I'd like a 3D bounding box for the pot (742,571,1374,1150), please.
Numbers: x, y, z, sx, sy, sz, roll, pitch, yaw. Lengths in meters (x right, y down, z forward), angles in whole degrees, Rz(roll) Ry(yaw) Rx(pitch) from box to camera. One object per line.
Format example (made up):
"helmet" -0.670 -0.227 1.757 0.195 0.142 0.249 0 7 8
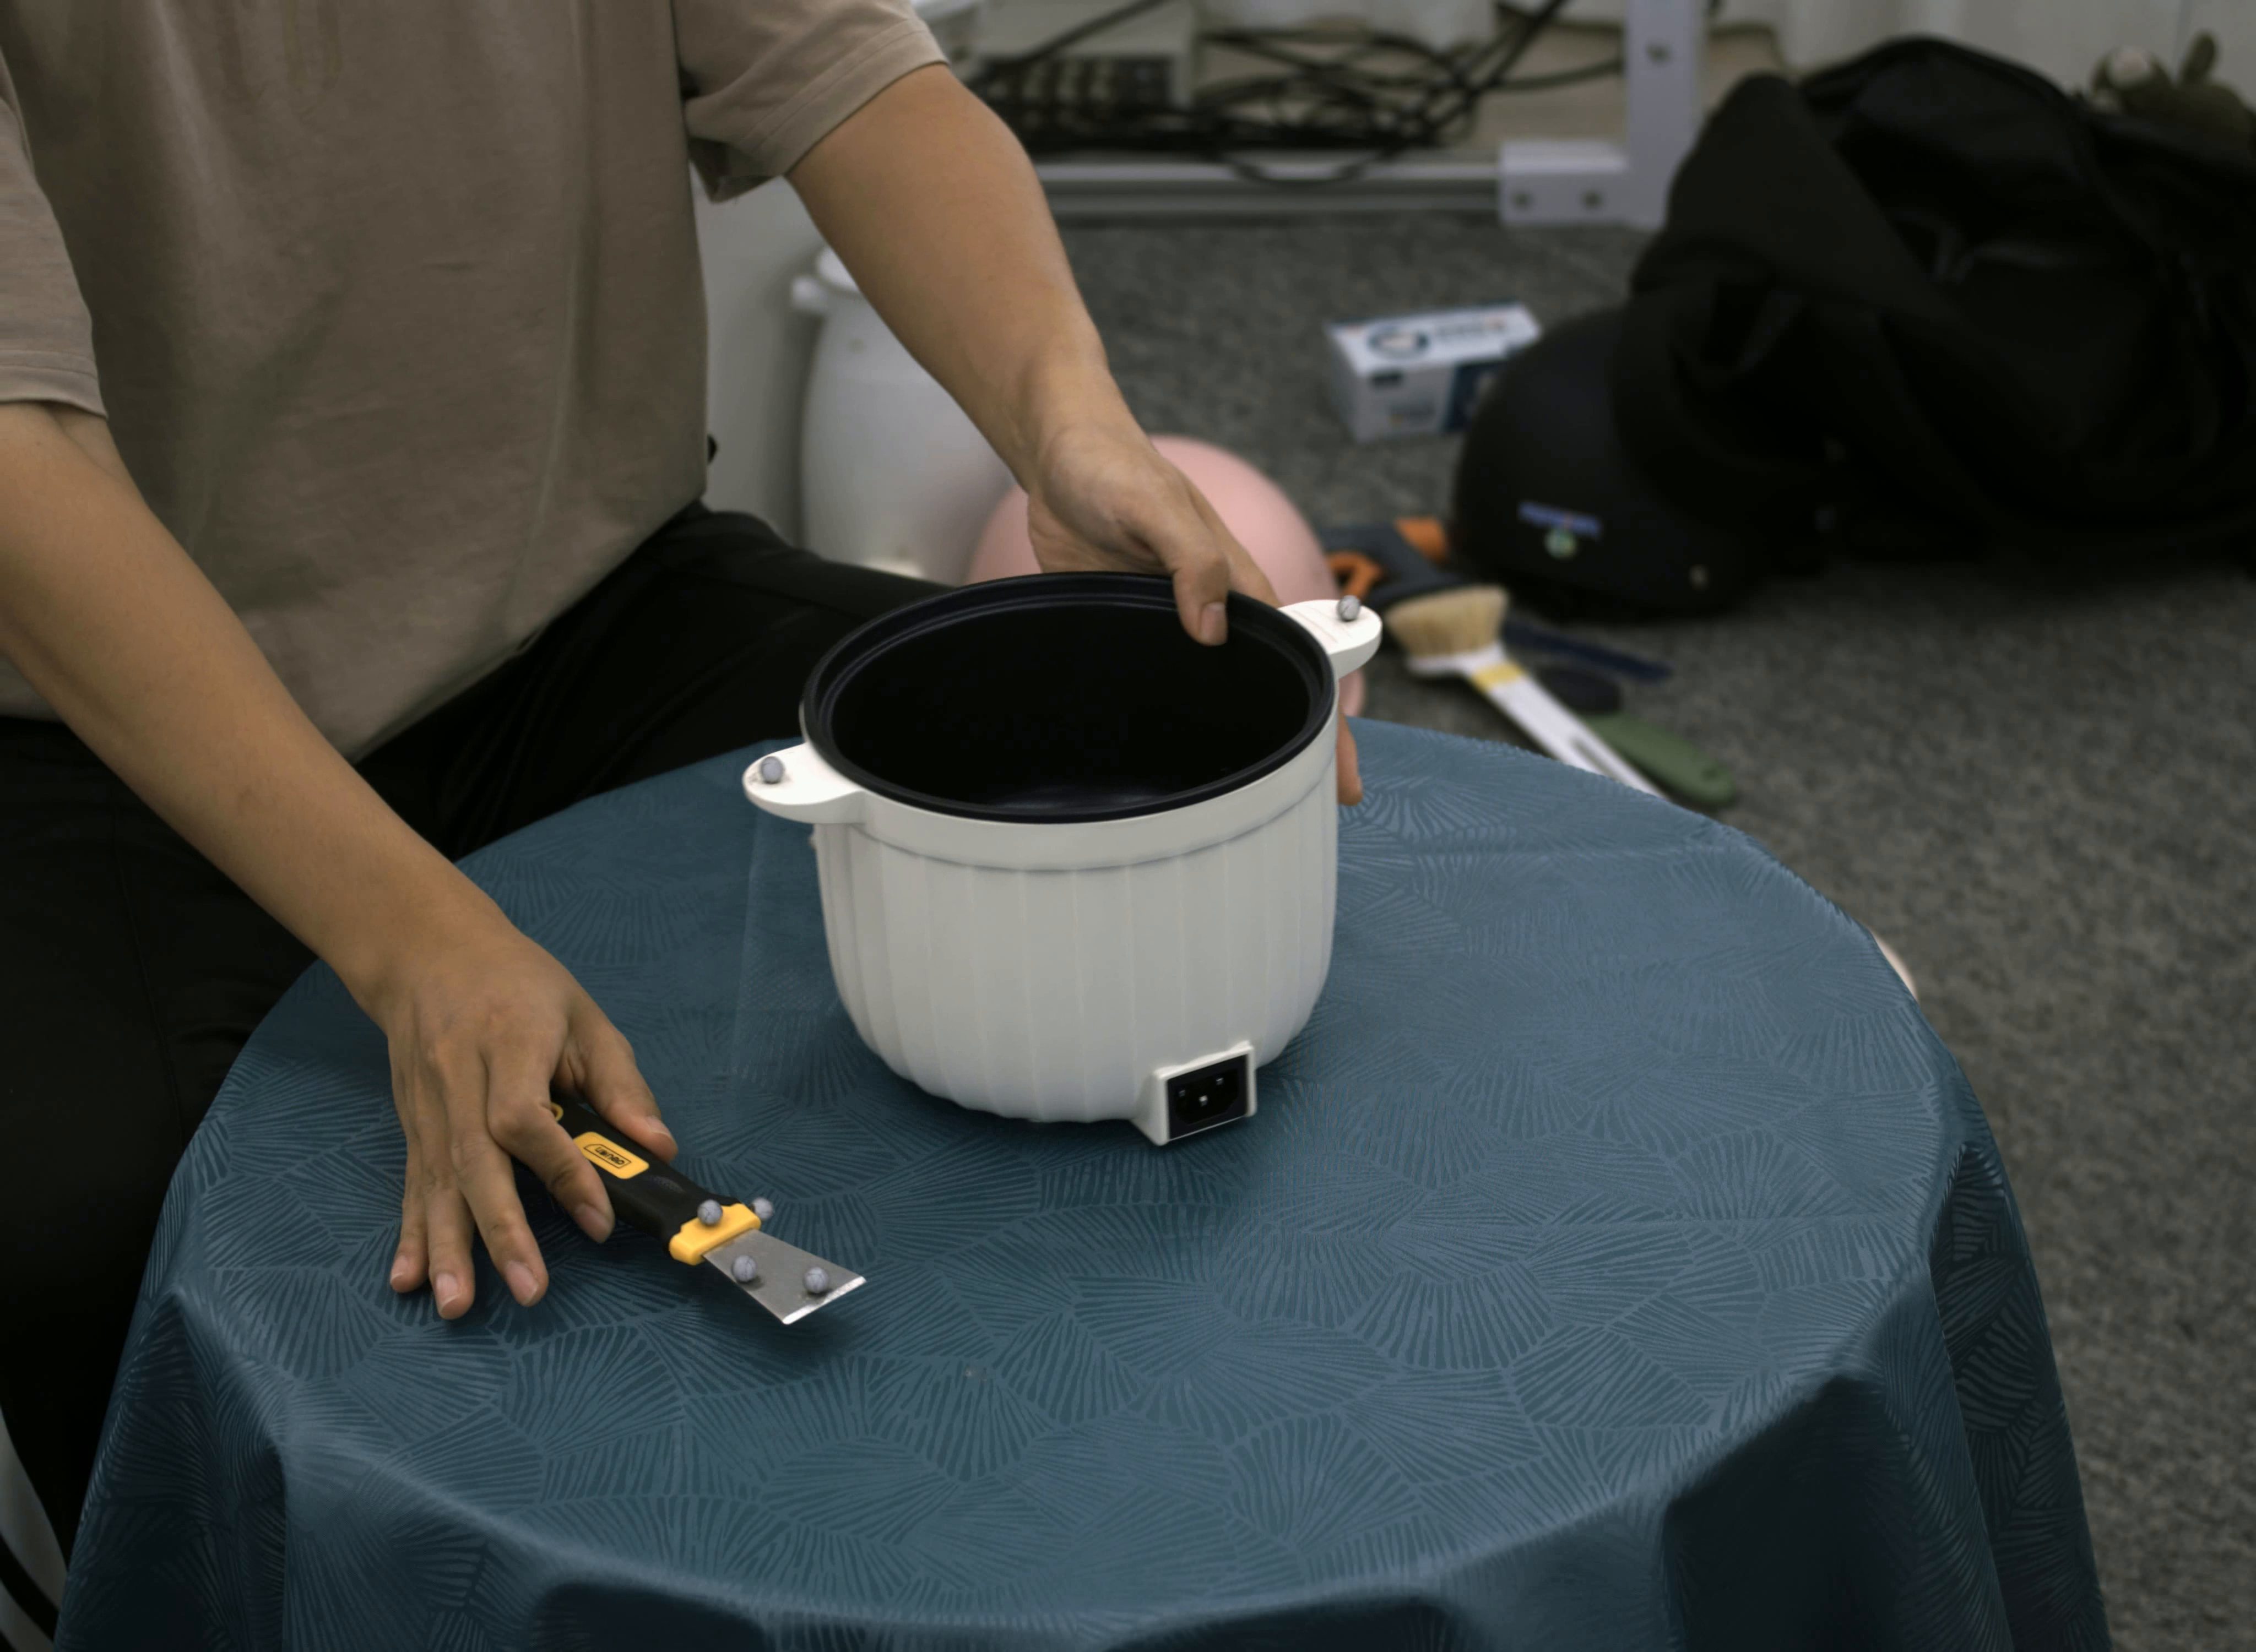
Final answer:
"pot" -0.023 0.011 1.928 0.242 0.141 0.191 -16 33 -26

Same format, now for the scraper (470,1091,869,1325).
"scraper" -0.154 0.123 1.825 0.171 0.015 0.039 24 43 39
